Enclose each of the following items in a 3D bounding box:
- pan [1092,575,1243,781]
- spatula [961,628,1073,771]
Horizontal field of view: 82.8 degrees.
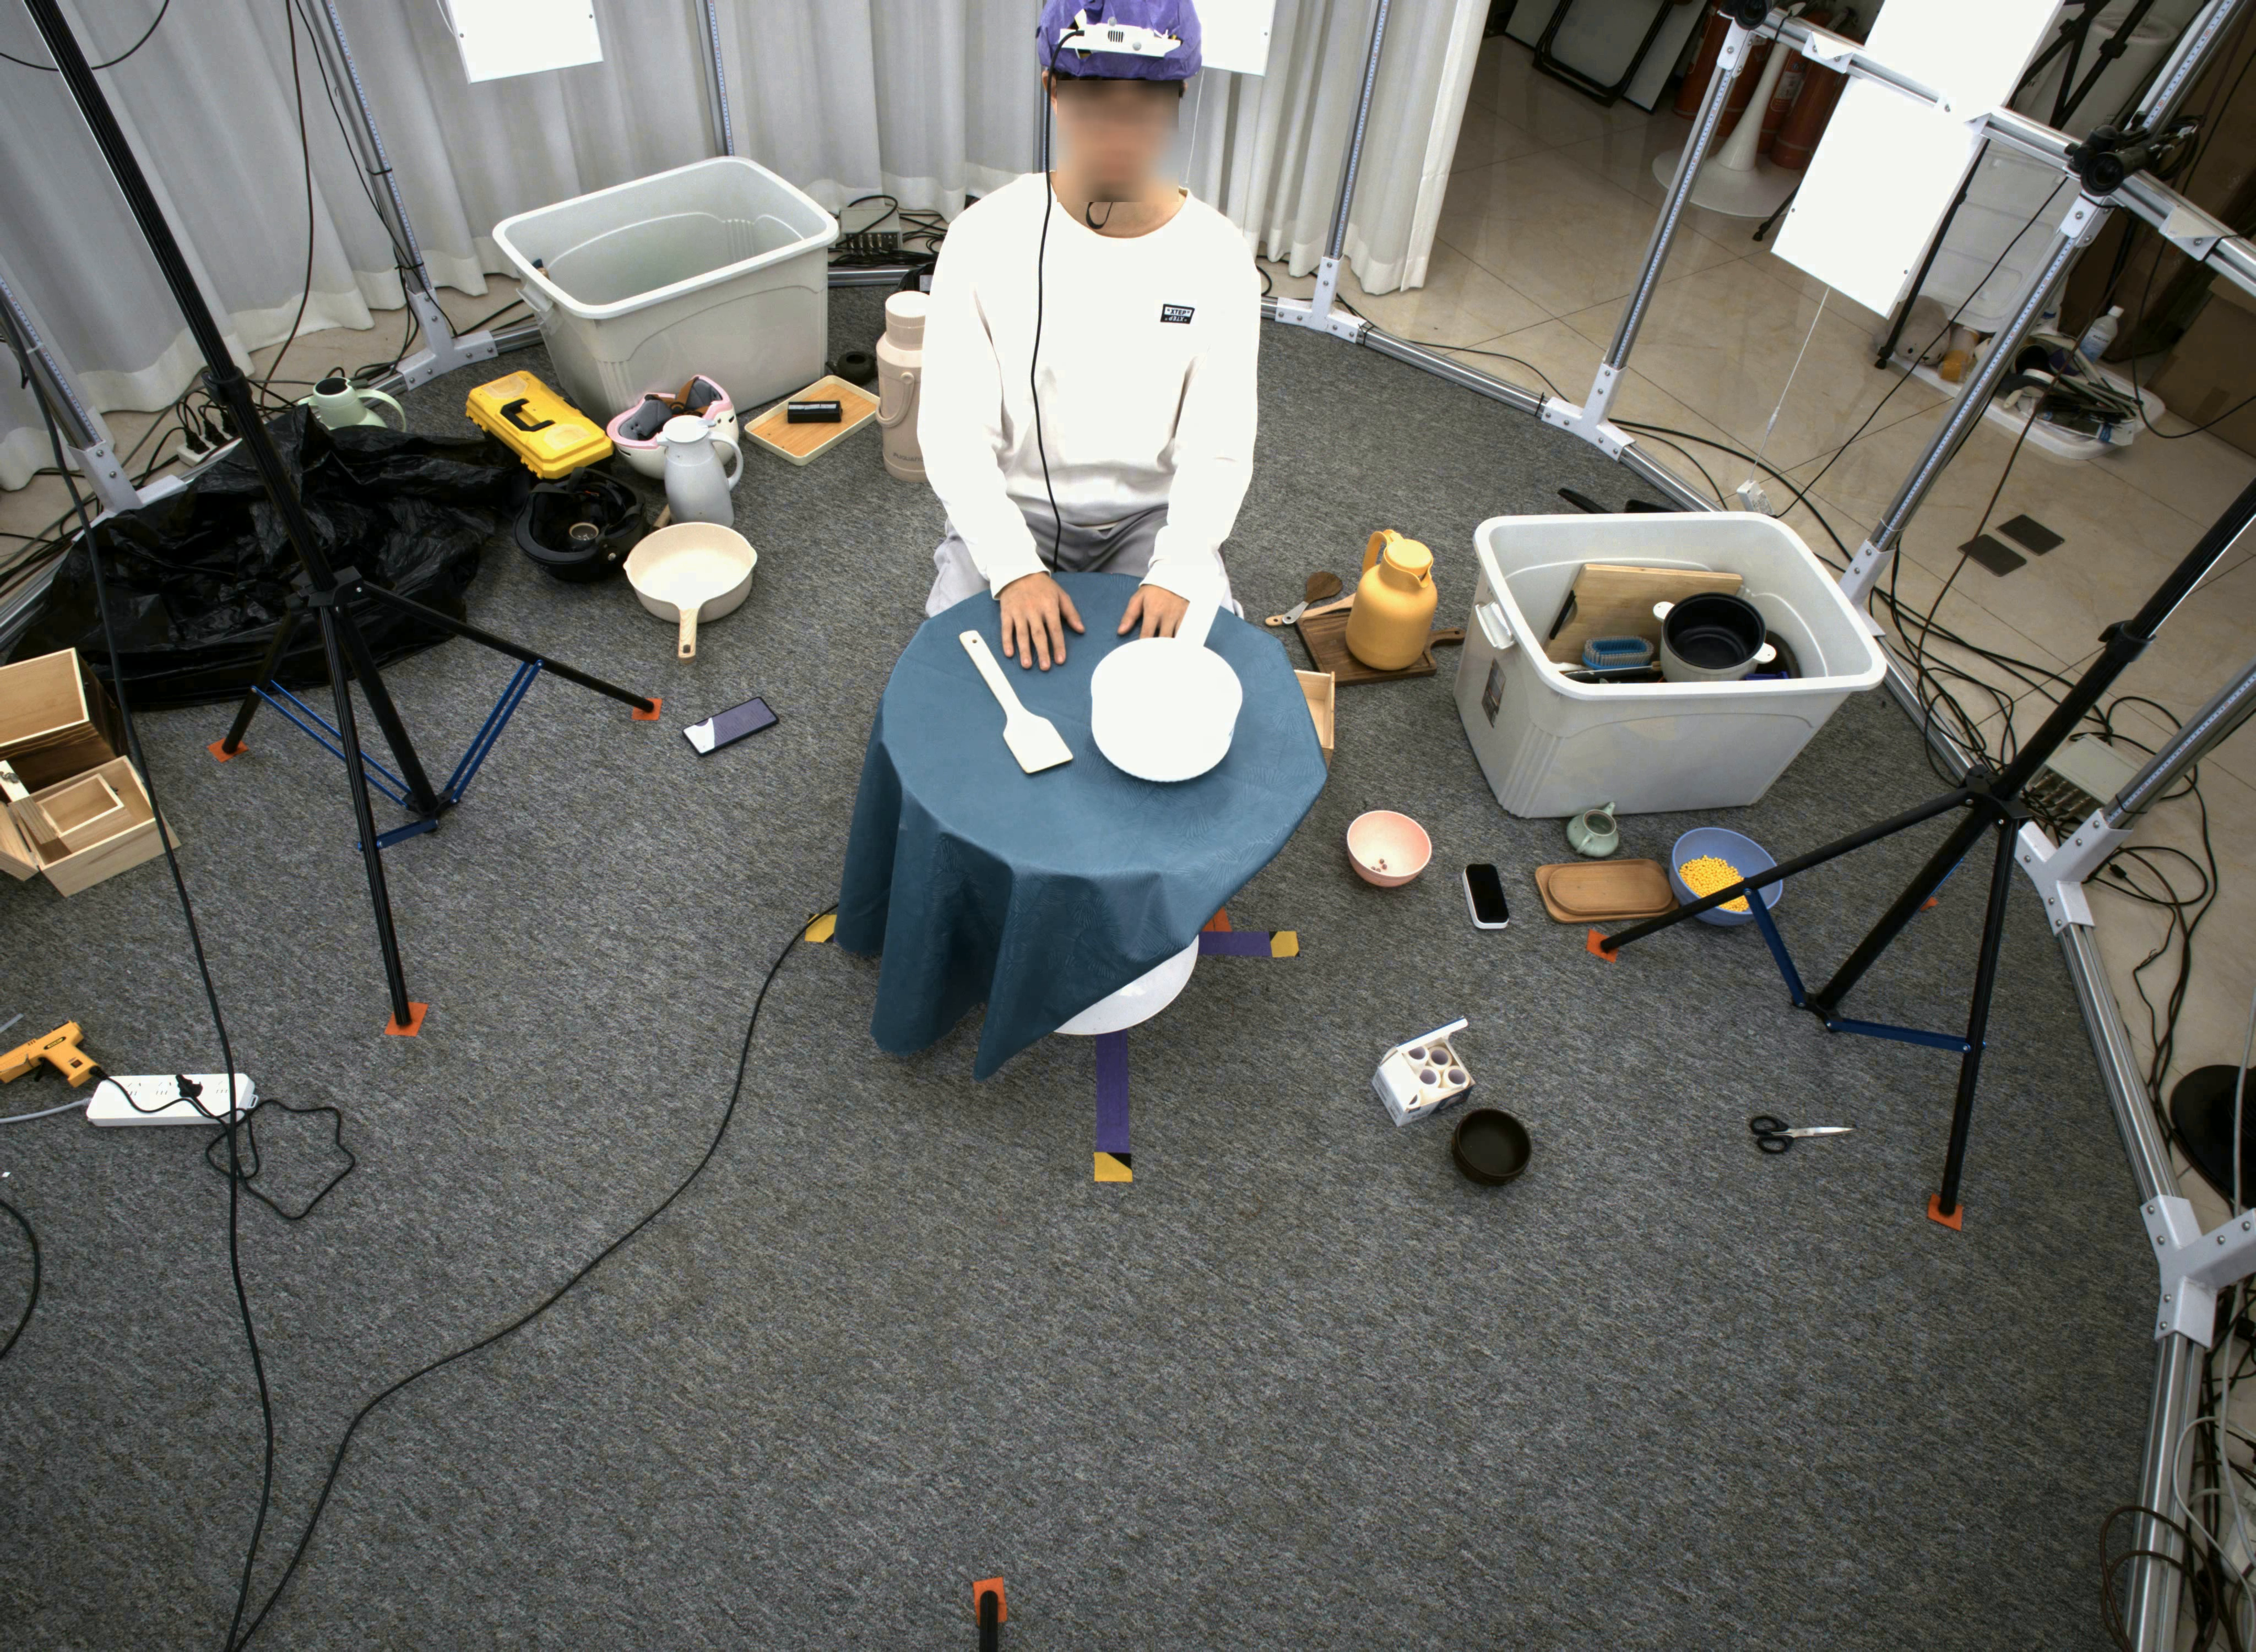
[{"bbox_3d":[0.073,-0.208,1.787,0.202,0.099,0.362,15,48,9],"label":"pan"},{"bbox_3d":[-0.170,-0.184,1.806,0.072,0.010,0.299,-19,53,-18],"label":"spatula"}]
